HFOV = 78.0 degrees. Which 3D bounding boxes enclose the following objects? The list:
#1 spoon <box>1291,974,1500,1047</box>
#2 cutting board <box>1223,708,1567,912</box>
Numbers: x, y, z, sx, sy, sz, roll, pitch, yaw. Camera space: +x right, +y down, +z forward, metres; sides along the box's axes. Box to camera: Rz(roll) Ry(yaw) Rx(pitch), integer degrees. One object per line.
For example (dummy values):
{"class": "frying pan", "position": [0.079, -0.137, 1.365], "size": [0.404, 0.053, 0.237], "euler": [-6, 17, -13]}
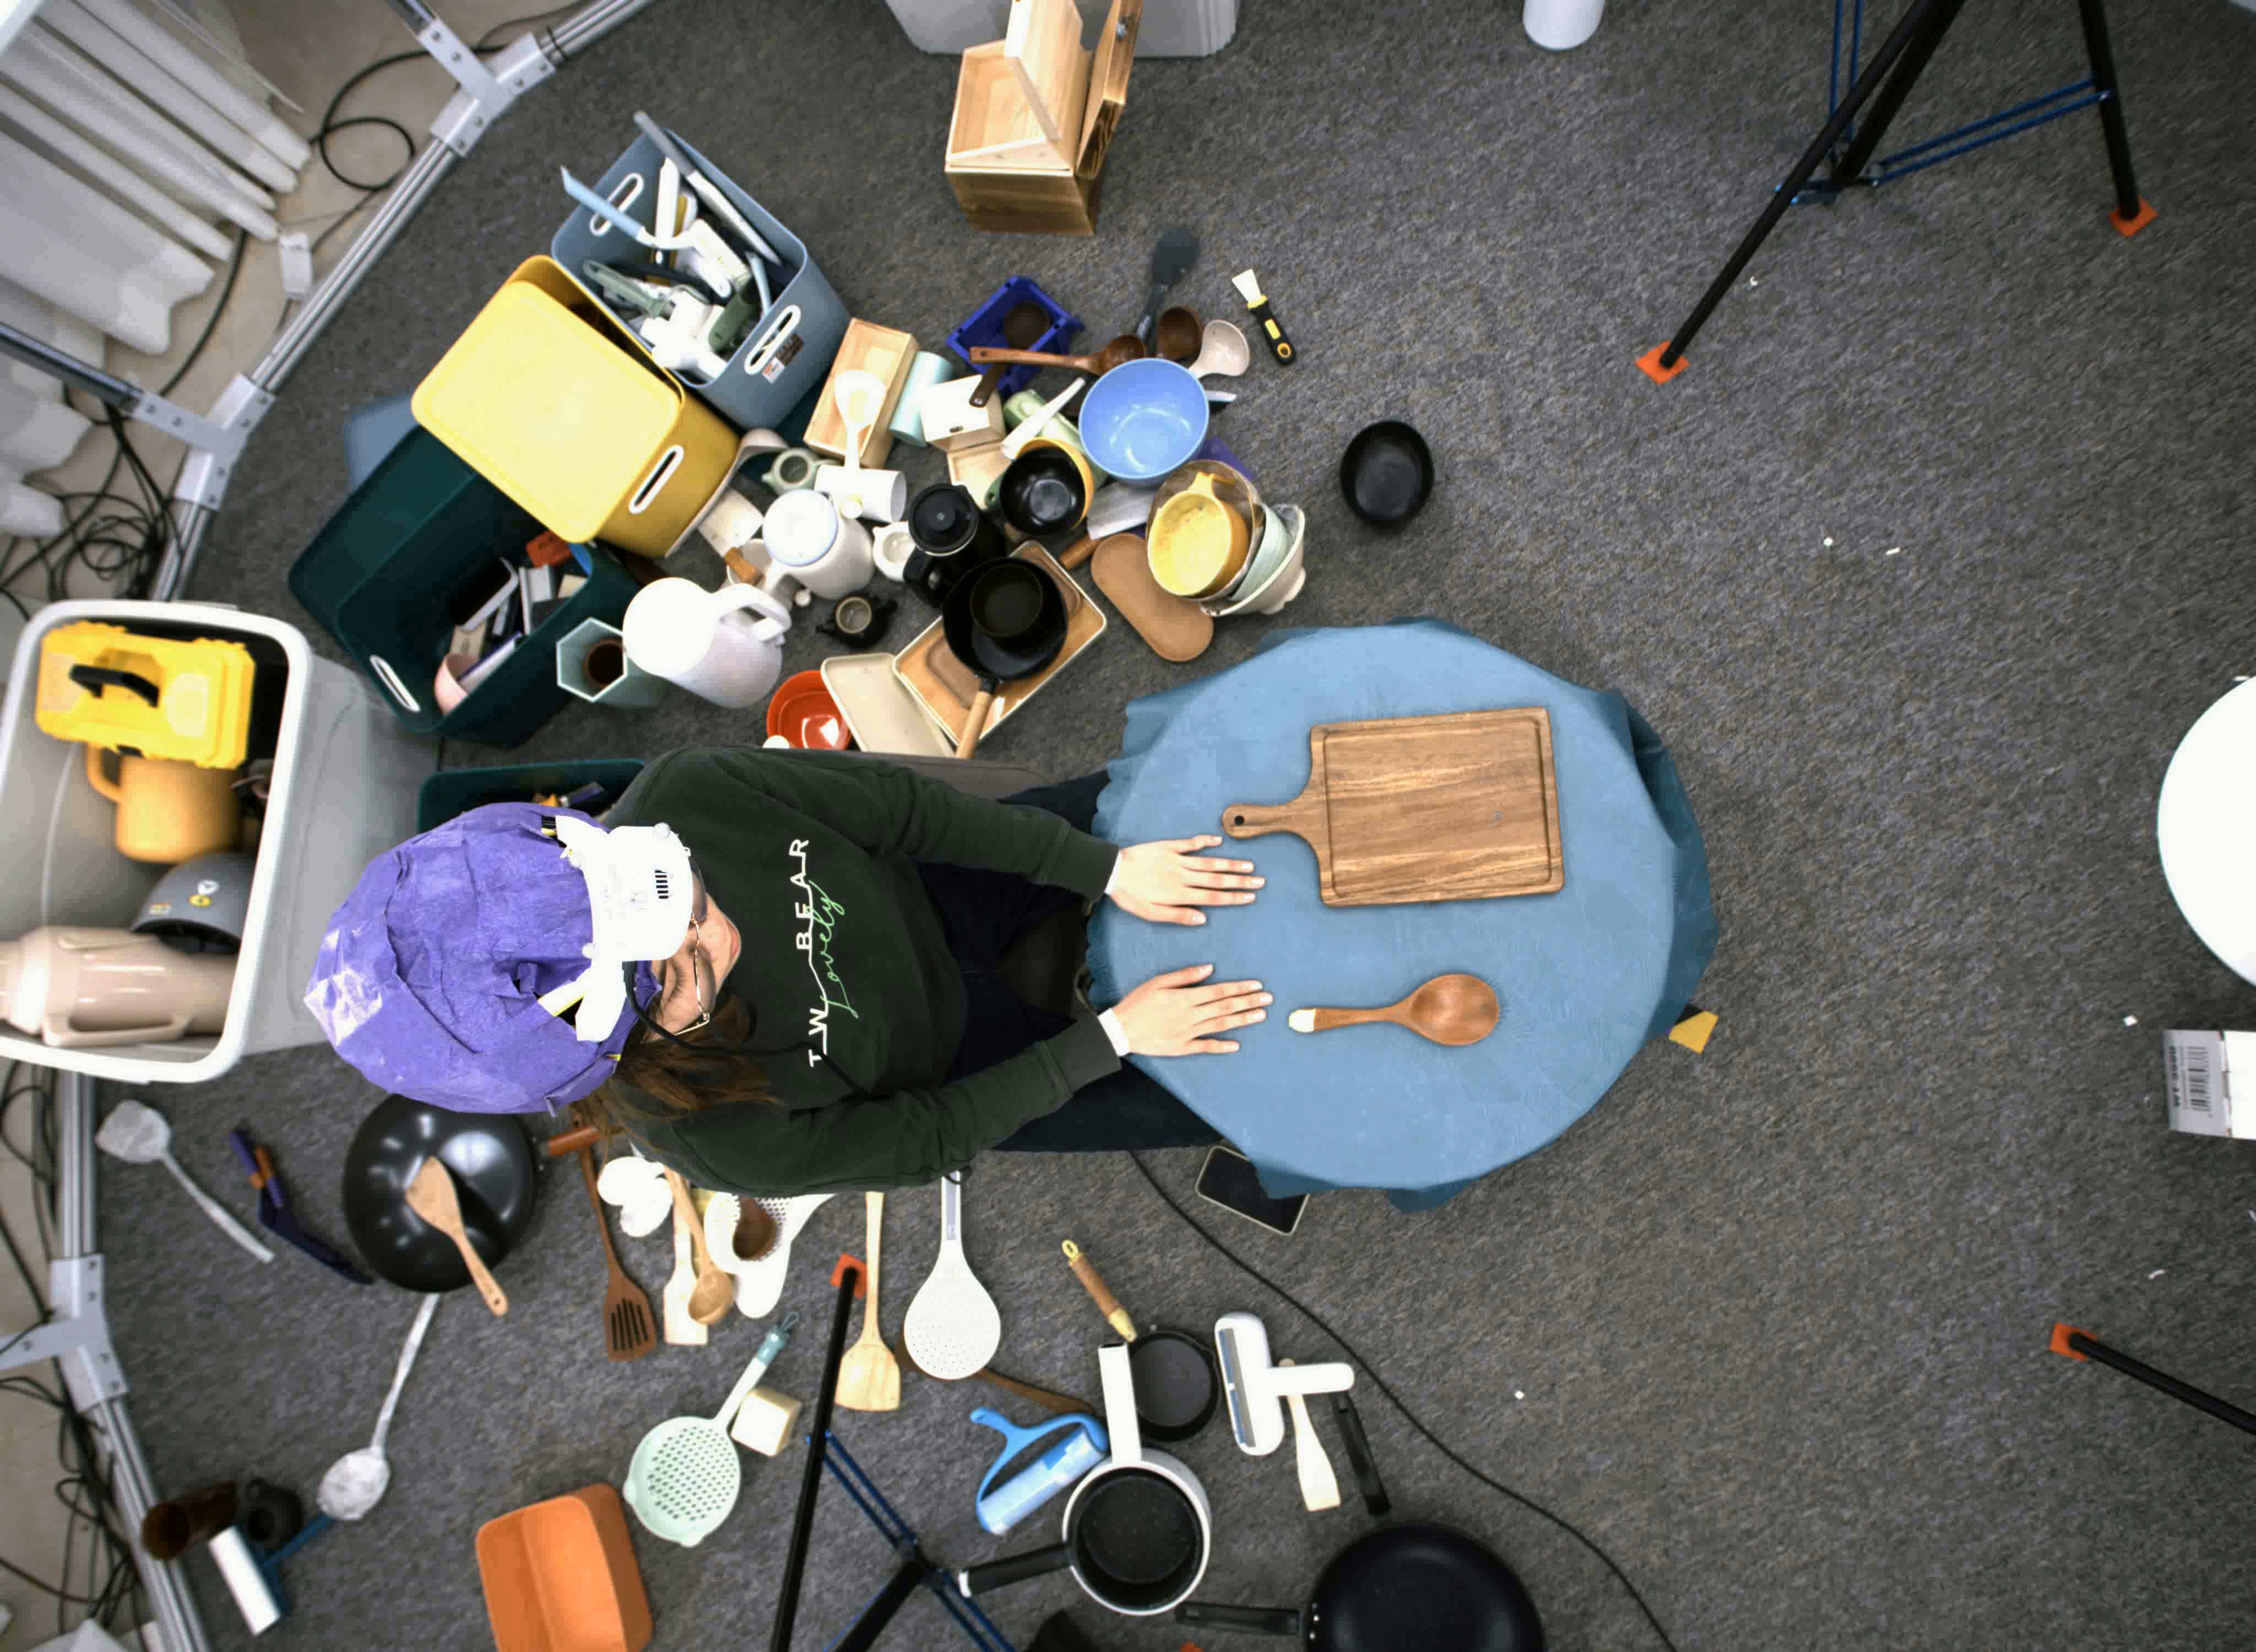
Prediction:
{"class": "spoon", "position": [0.279, 0.196, 1.446], "size": [0.217, 0.017, 0.075], "euler": [-6, 87, 9]}
{"class": "cutting board", "position": [0.276, -0.014, 1.461], "size": [0.354, 0.023, 0.200], "euler": [-4, 86, 10]}
